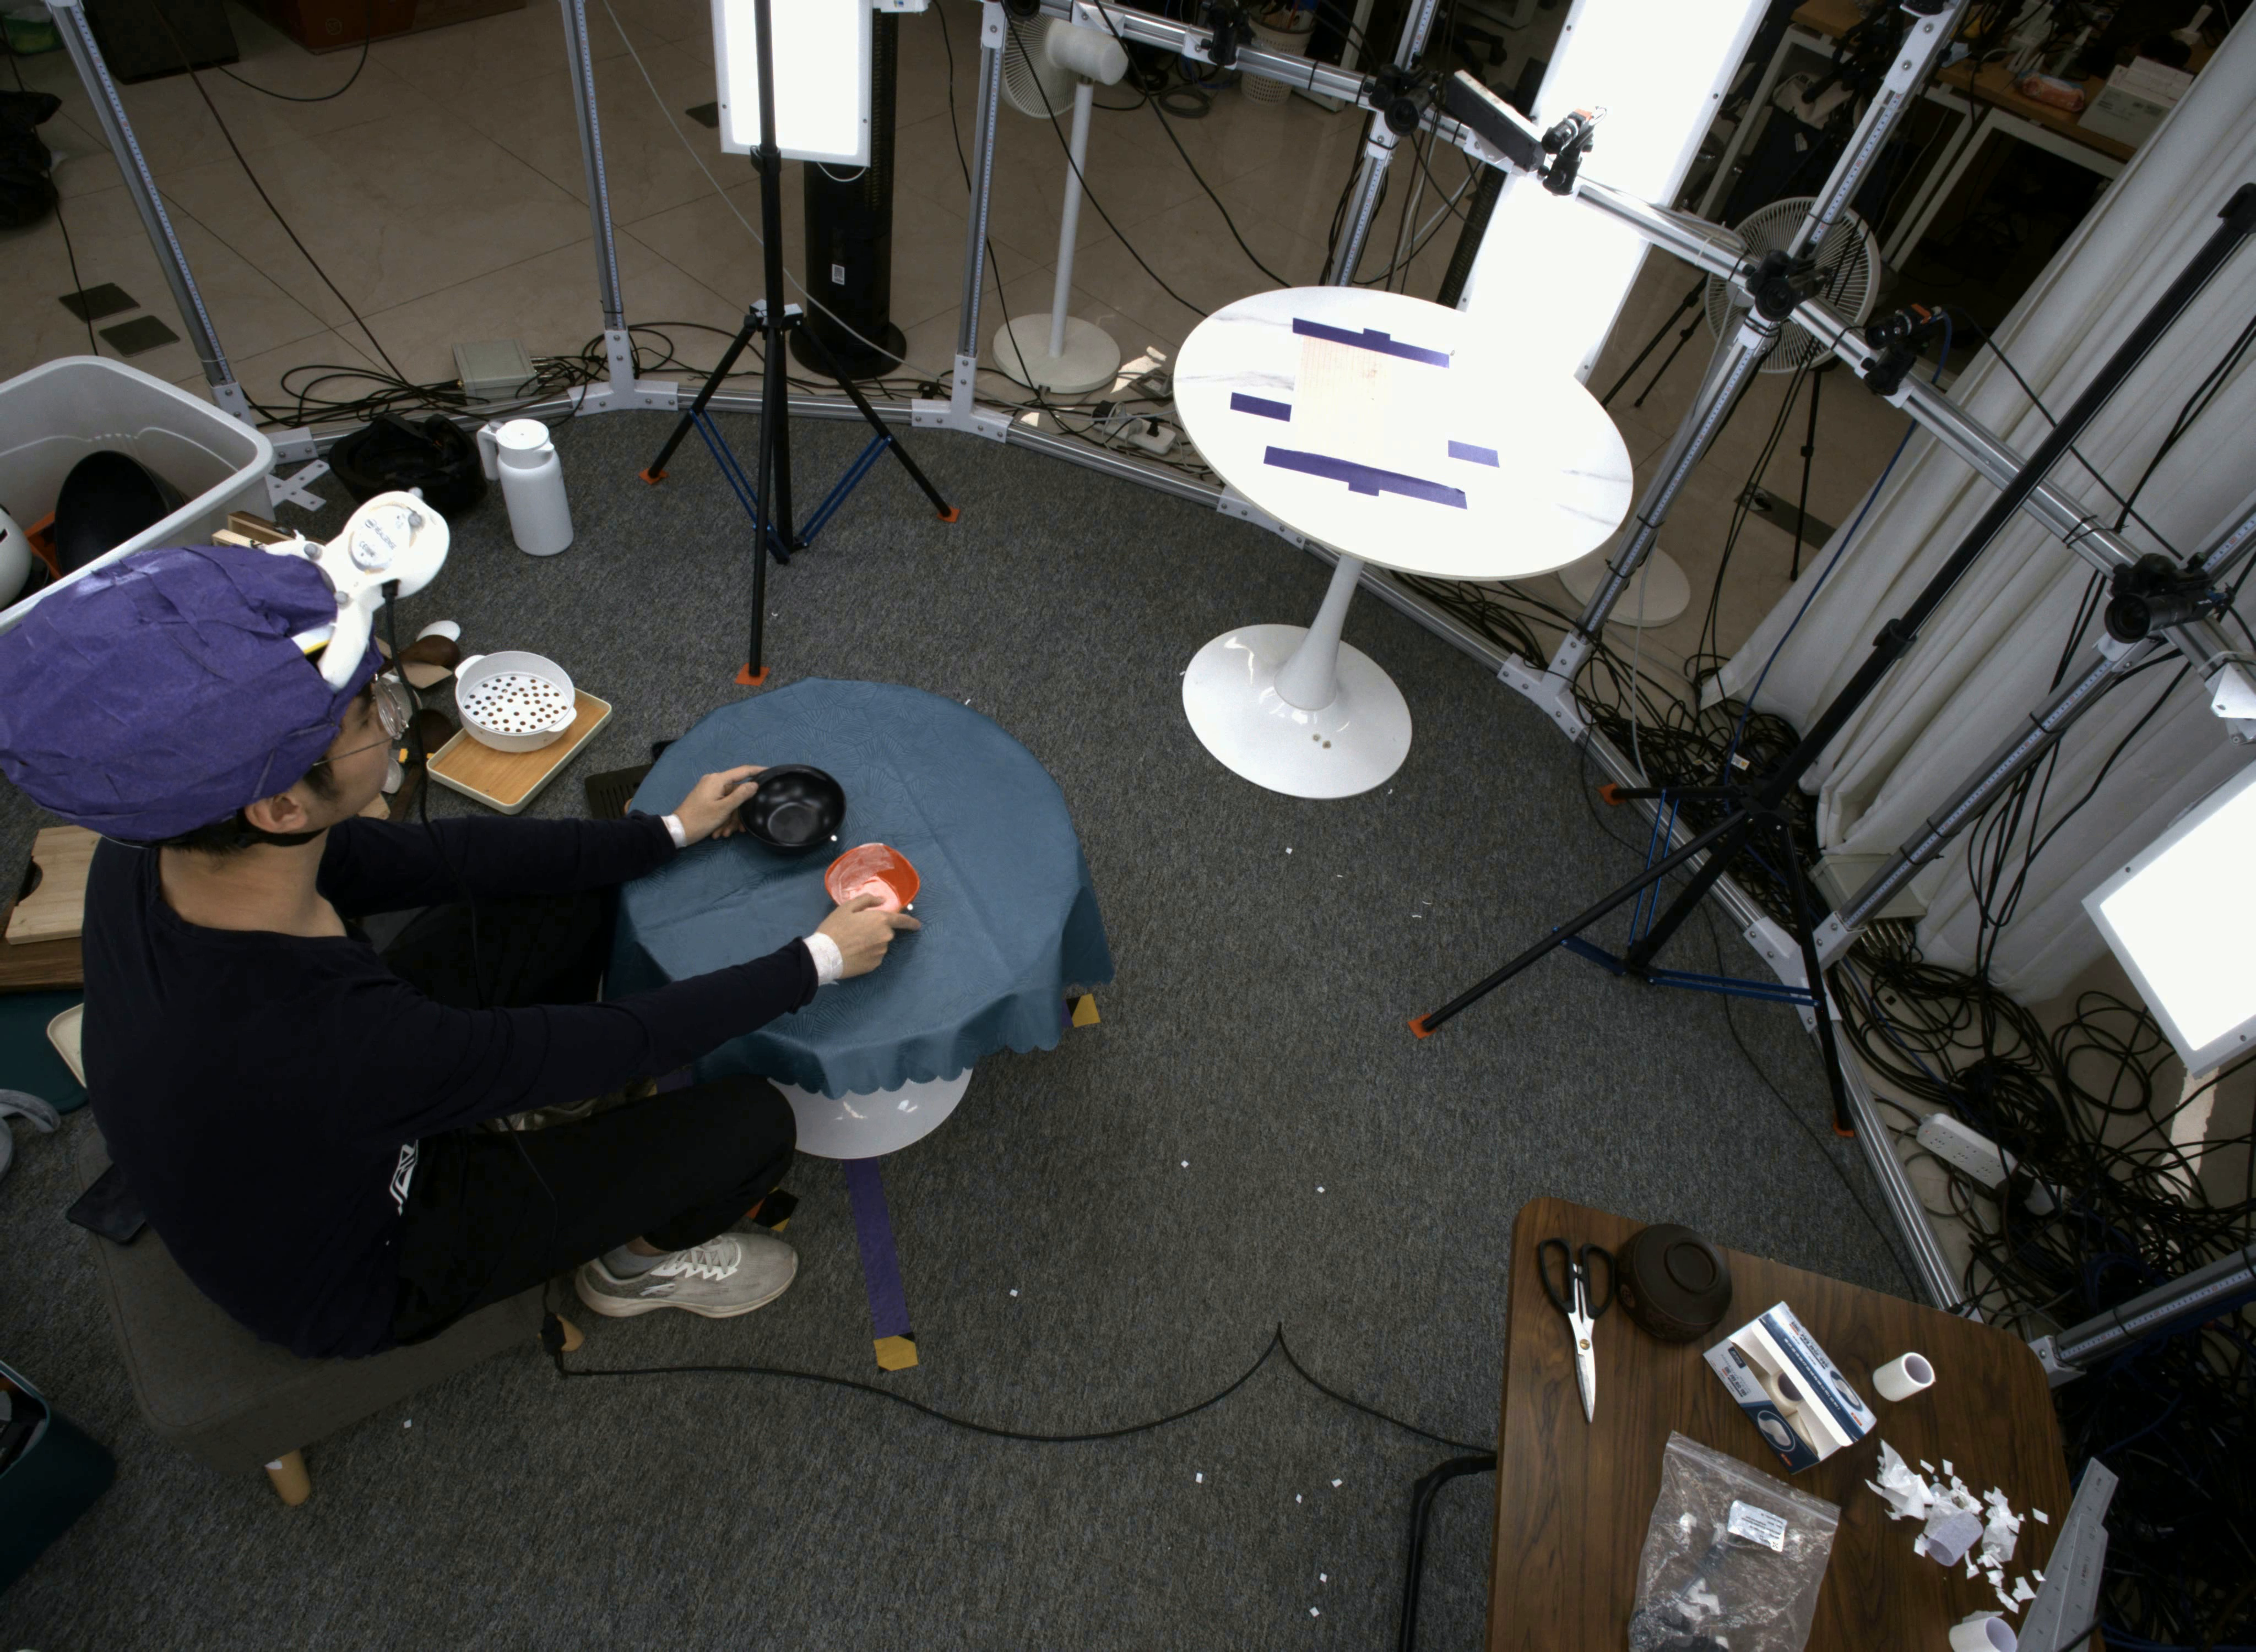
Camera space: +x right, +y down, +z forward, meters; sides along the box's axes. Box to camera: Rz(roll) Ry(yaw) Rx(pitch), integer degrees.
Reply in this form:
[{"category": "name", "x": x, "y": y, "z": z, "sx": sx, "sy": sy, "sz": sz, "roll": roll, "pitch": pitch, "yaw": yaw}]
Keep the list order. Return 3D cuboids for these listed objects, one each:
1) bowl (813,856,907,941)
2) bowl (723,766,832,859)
[{"category": "bowl", "x": -0.345, "y": 0.099, "z": 1.661, "sx": 0.119, "sy": 0.052, "sz": 0.117, "roll": 13, "pitch": 51, "yaw": -15}, {"category": "bowl", "x": -0.459, "y": -0.010, "z": 1.705, "sx": 0.139, "sy": 0.051, "sz": 0.137, "roll": 6, "pitch": 55, "yaw": -7}]
